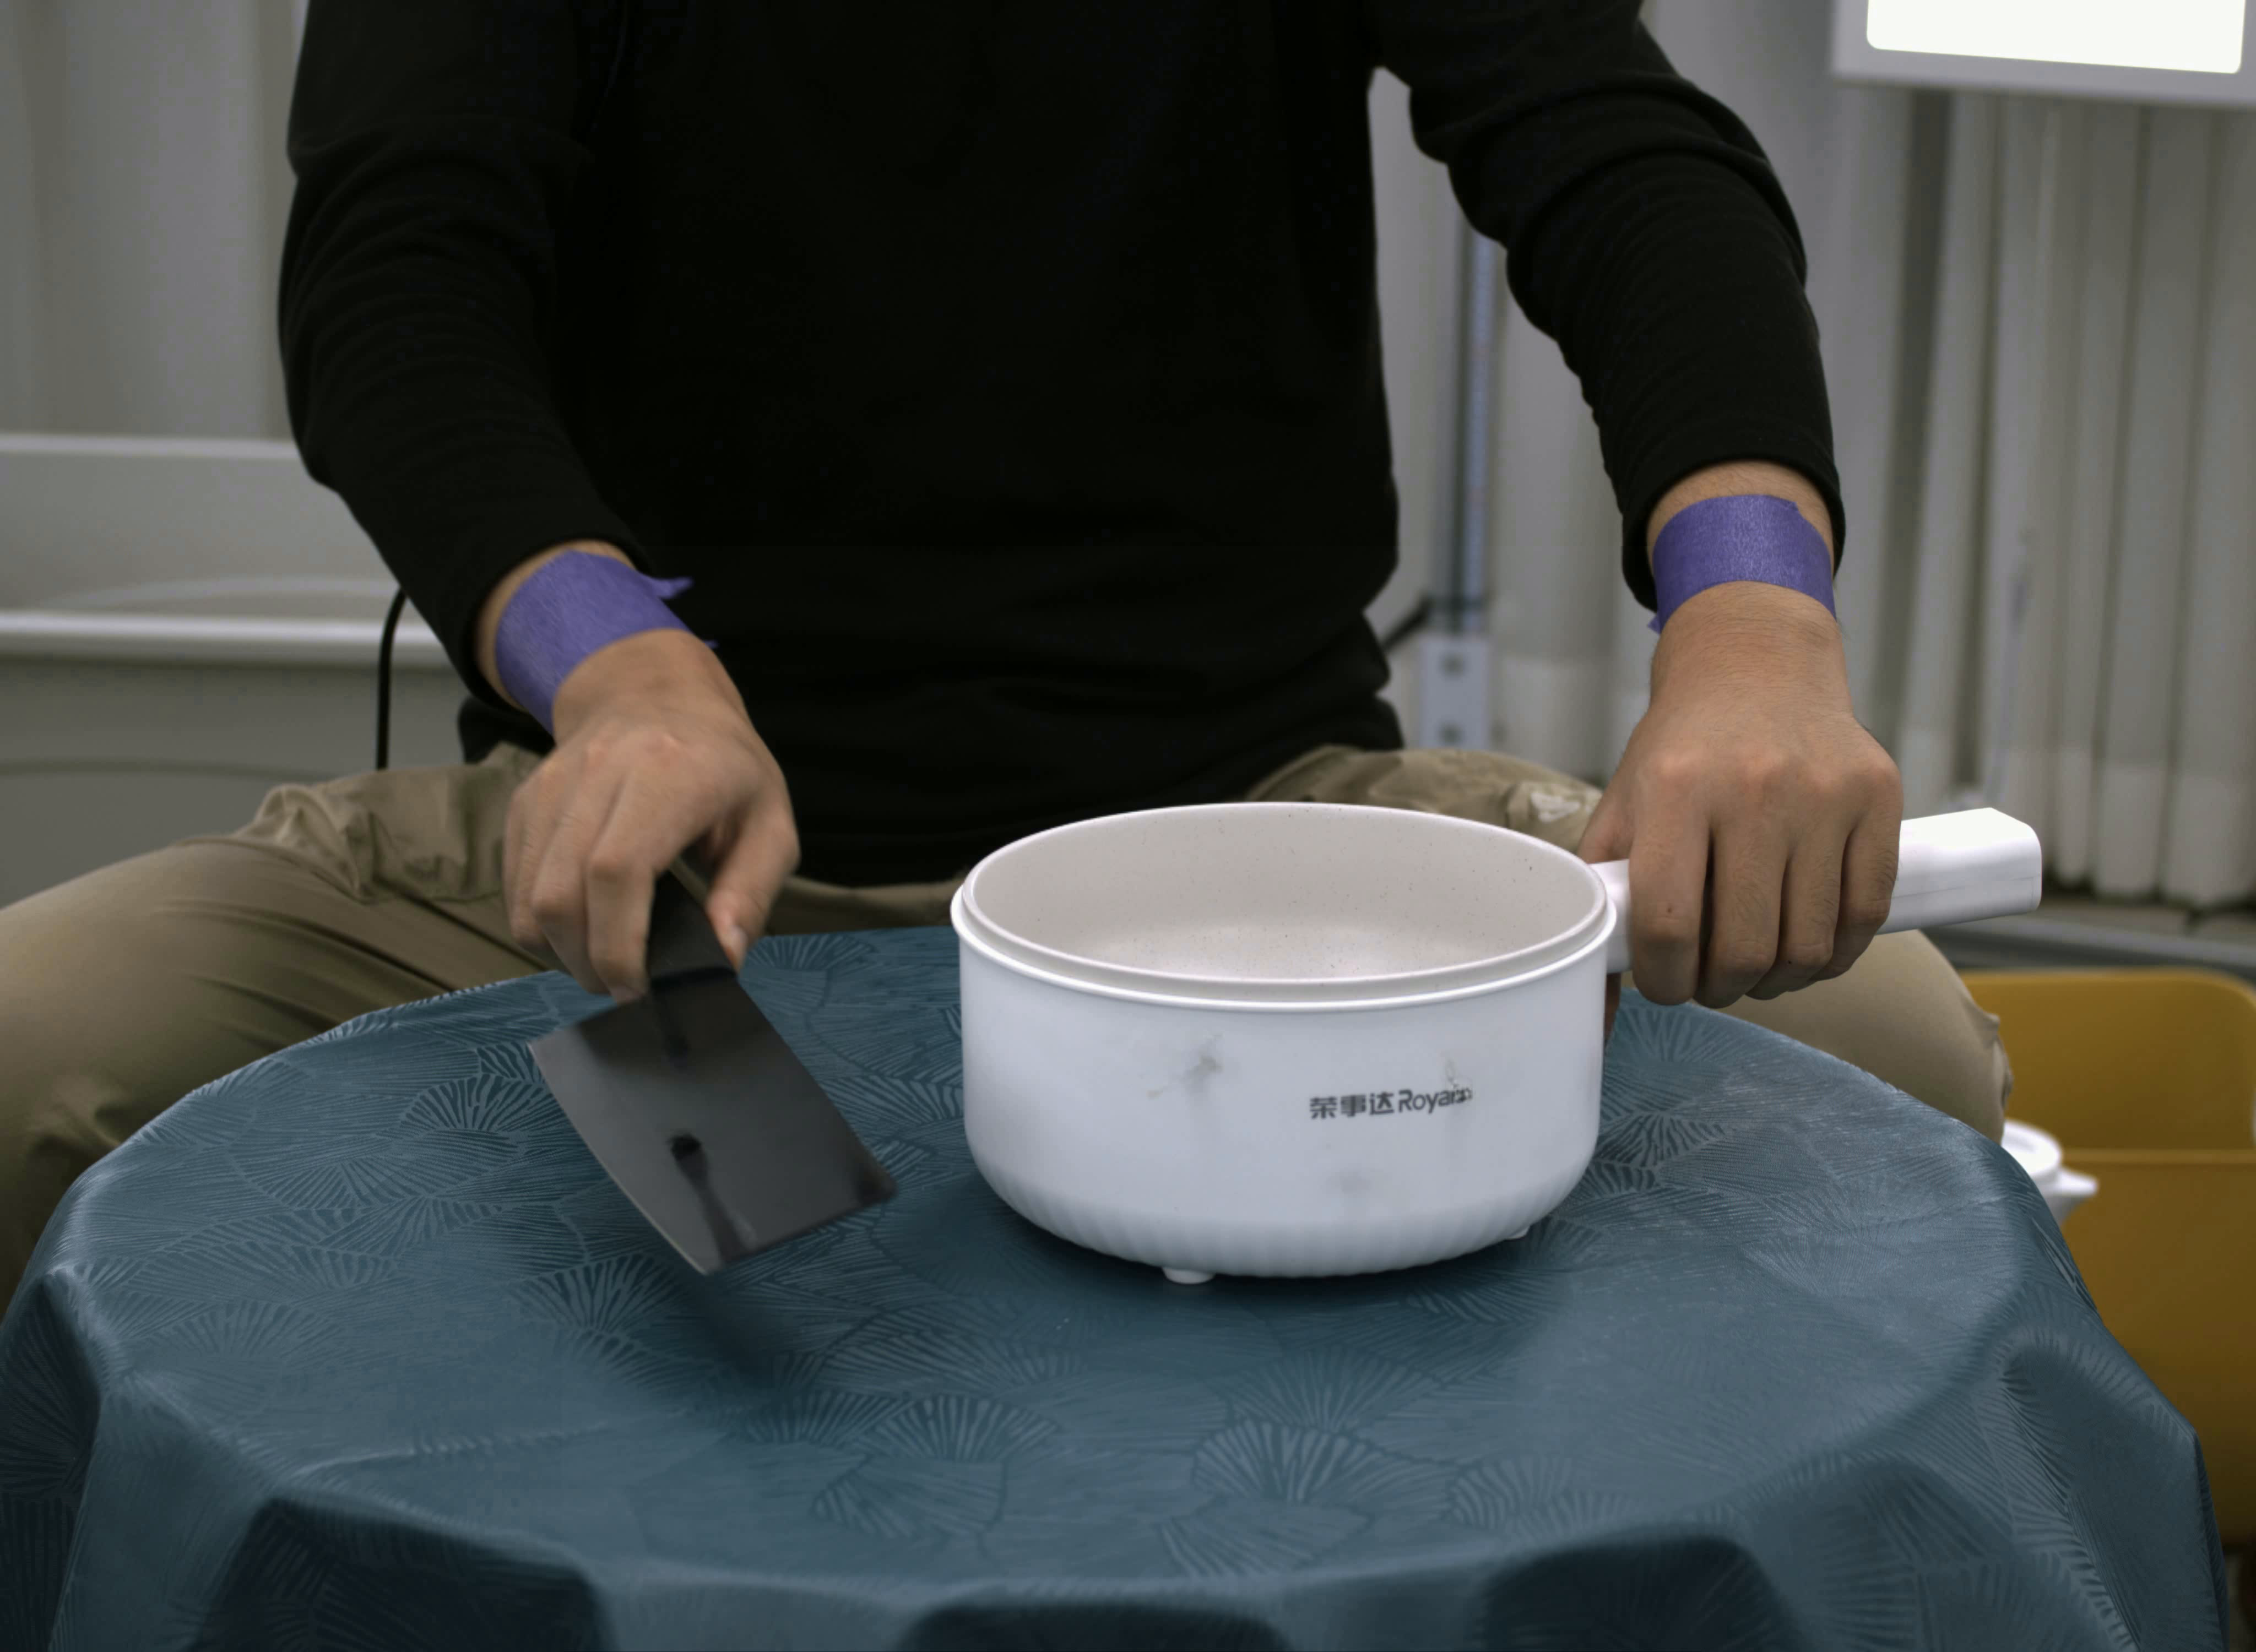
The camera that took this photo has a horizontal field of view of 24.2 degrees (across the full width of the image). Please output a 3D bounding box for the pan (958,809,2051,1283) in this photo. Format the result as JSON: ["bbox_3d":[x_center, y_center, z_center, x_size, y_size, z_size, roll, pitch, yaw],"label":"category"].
[{"bbox_3d":[0.120,0.062,1.629,0.356,0.103,0.199,-5,16,-22],"label":"pan"}]

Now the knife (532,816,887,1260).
[{"bbox_3d":[-0.140,0.059,1.577,0.081,0.021,0.299,-20,25,-8],"label":"knife"}]
